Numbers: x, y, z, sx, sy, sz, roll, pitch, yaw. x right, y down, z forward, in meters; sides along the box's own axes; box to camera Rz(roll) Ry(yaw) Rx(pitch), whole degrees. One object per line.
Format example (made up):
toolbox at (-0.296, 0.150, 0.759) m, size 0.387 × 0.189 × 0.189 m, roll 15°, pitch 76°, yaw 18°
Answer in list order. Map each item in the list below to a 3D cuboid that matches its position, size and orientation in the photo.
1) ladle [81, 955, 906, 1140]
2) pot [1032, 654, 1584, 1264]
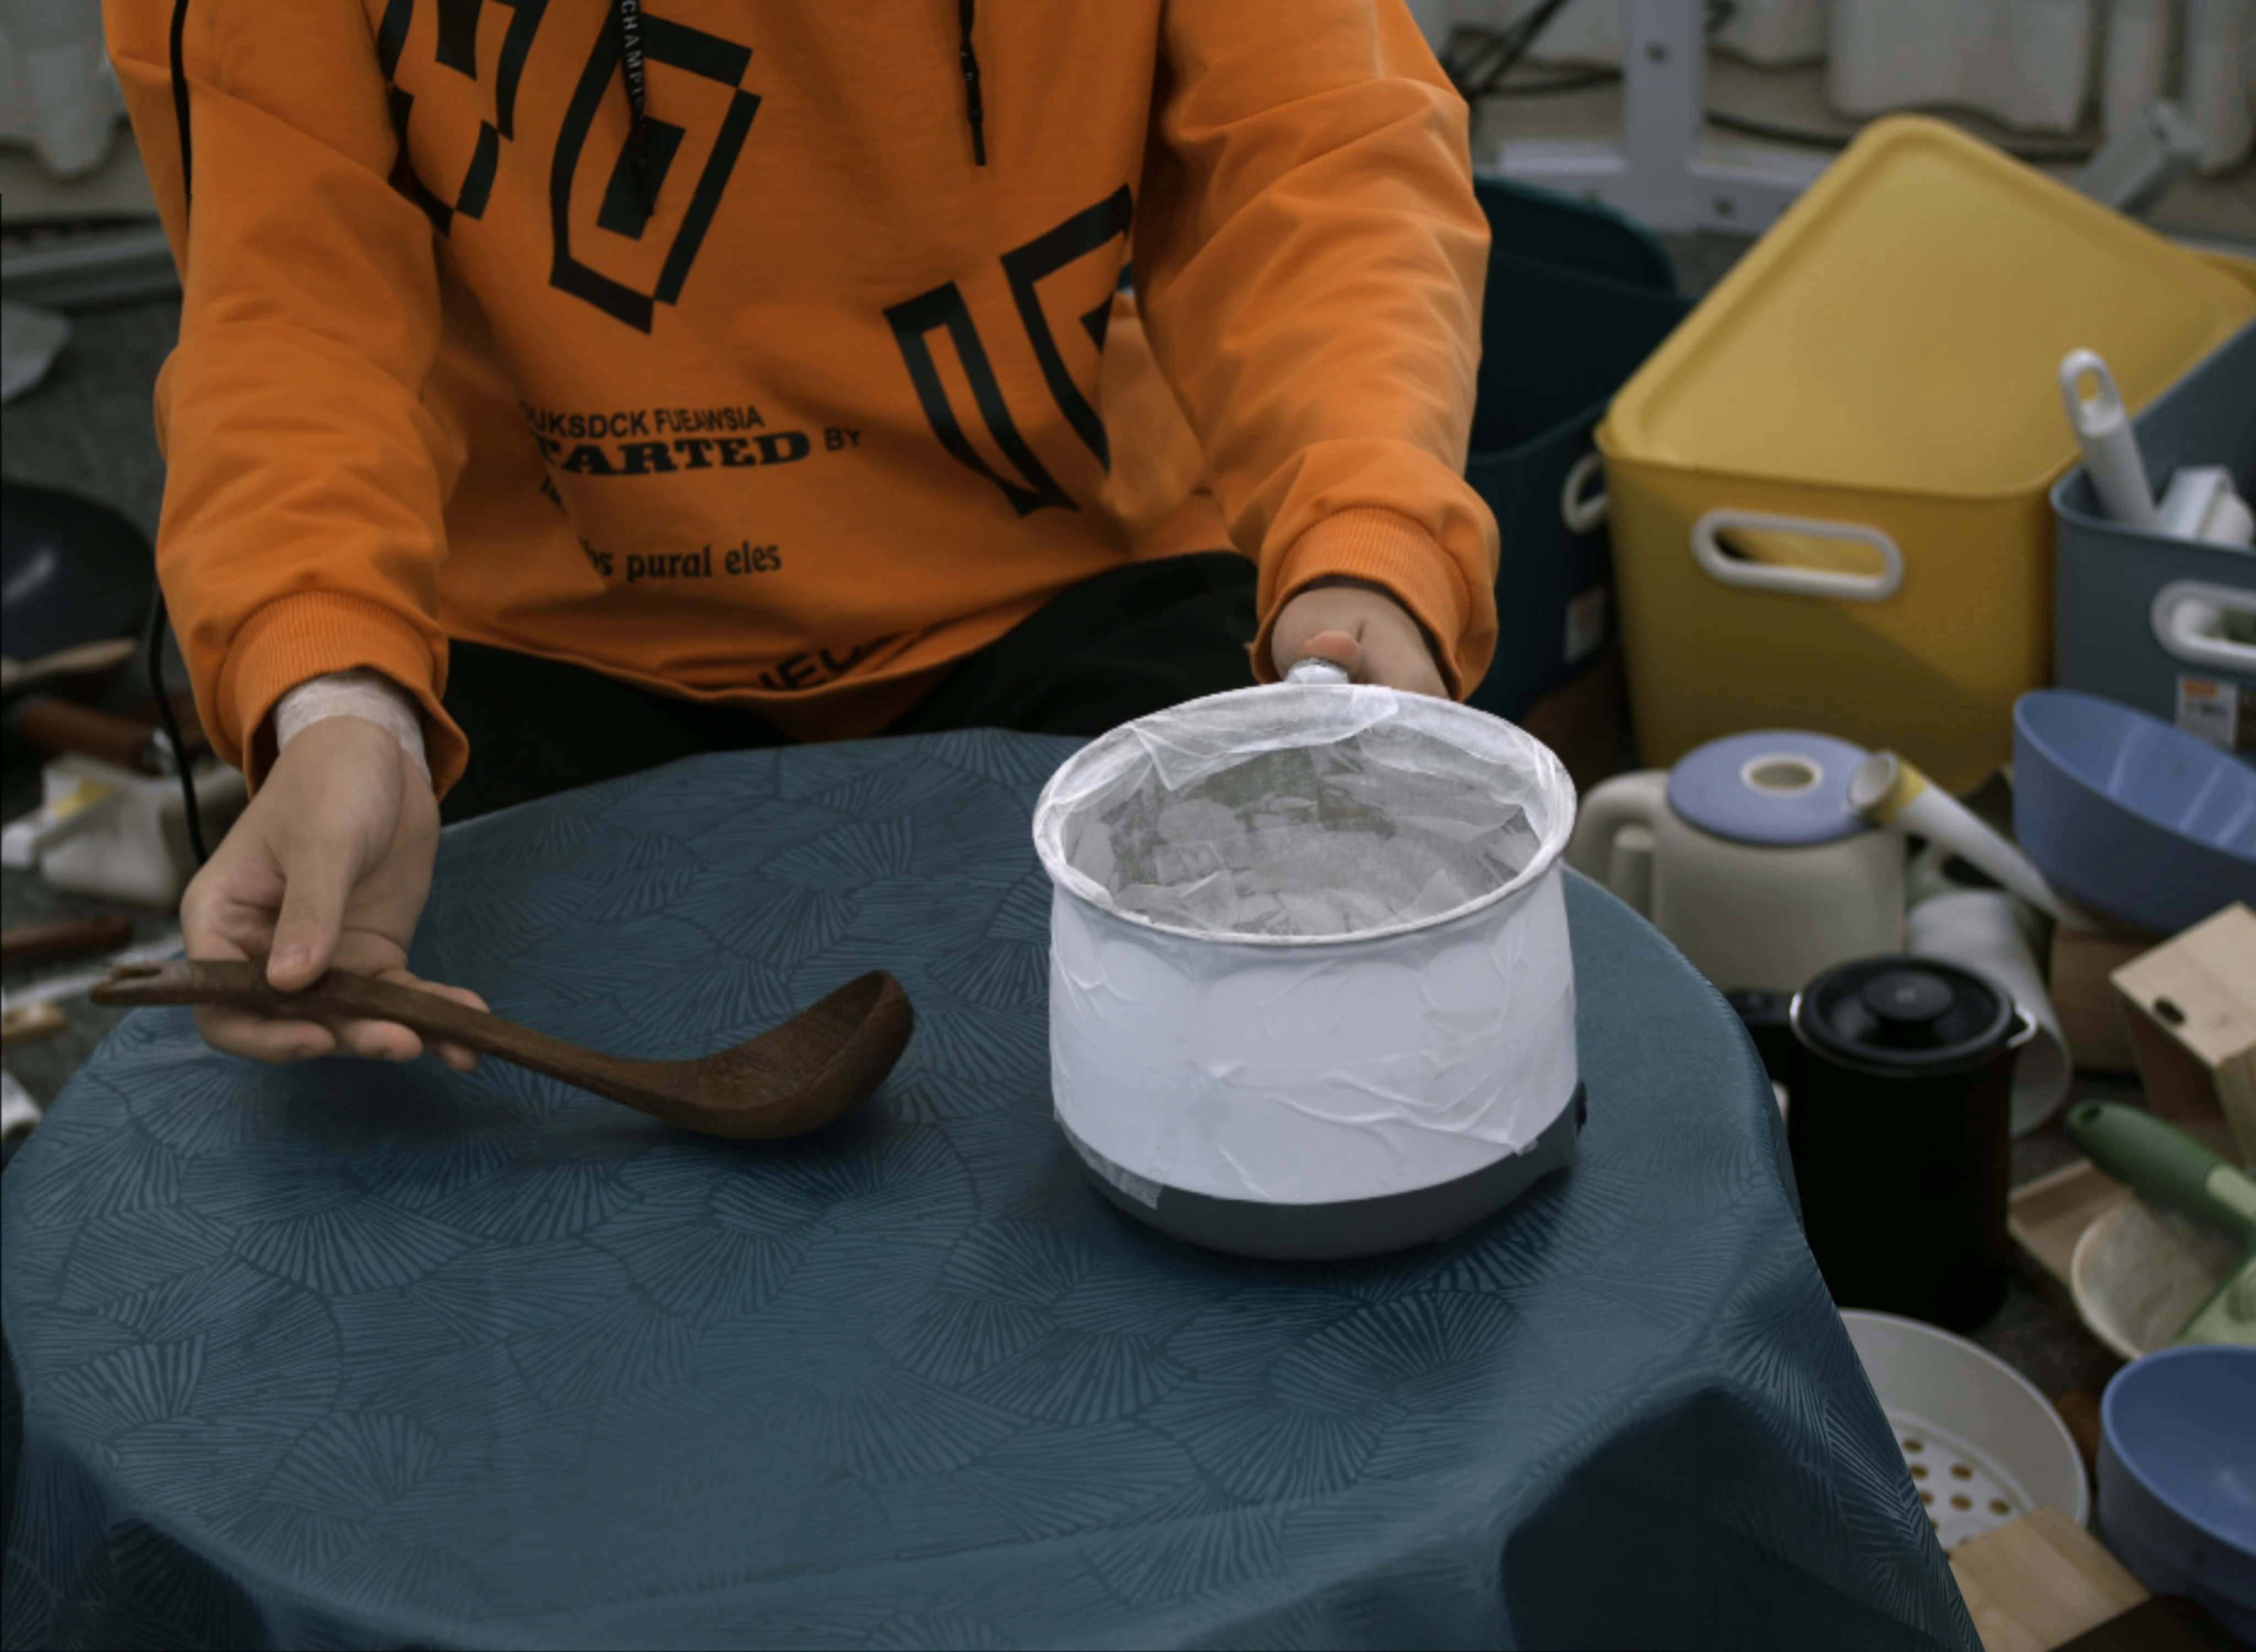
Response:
ladle at (-0.212, 0.053, 1.893) m, size 0.273 × 0.071 × 0.077 m, roll 13°, pitch 16°, yaw -2°
pot at (0.061, 0.037, 1.872) m, size 0.178 × 0.135 × 0.237 m, roll -1°, pitch 28°, yaw 3°
